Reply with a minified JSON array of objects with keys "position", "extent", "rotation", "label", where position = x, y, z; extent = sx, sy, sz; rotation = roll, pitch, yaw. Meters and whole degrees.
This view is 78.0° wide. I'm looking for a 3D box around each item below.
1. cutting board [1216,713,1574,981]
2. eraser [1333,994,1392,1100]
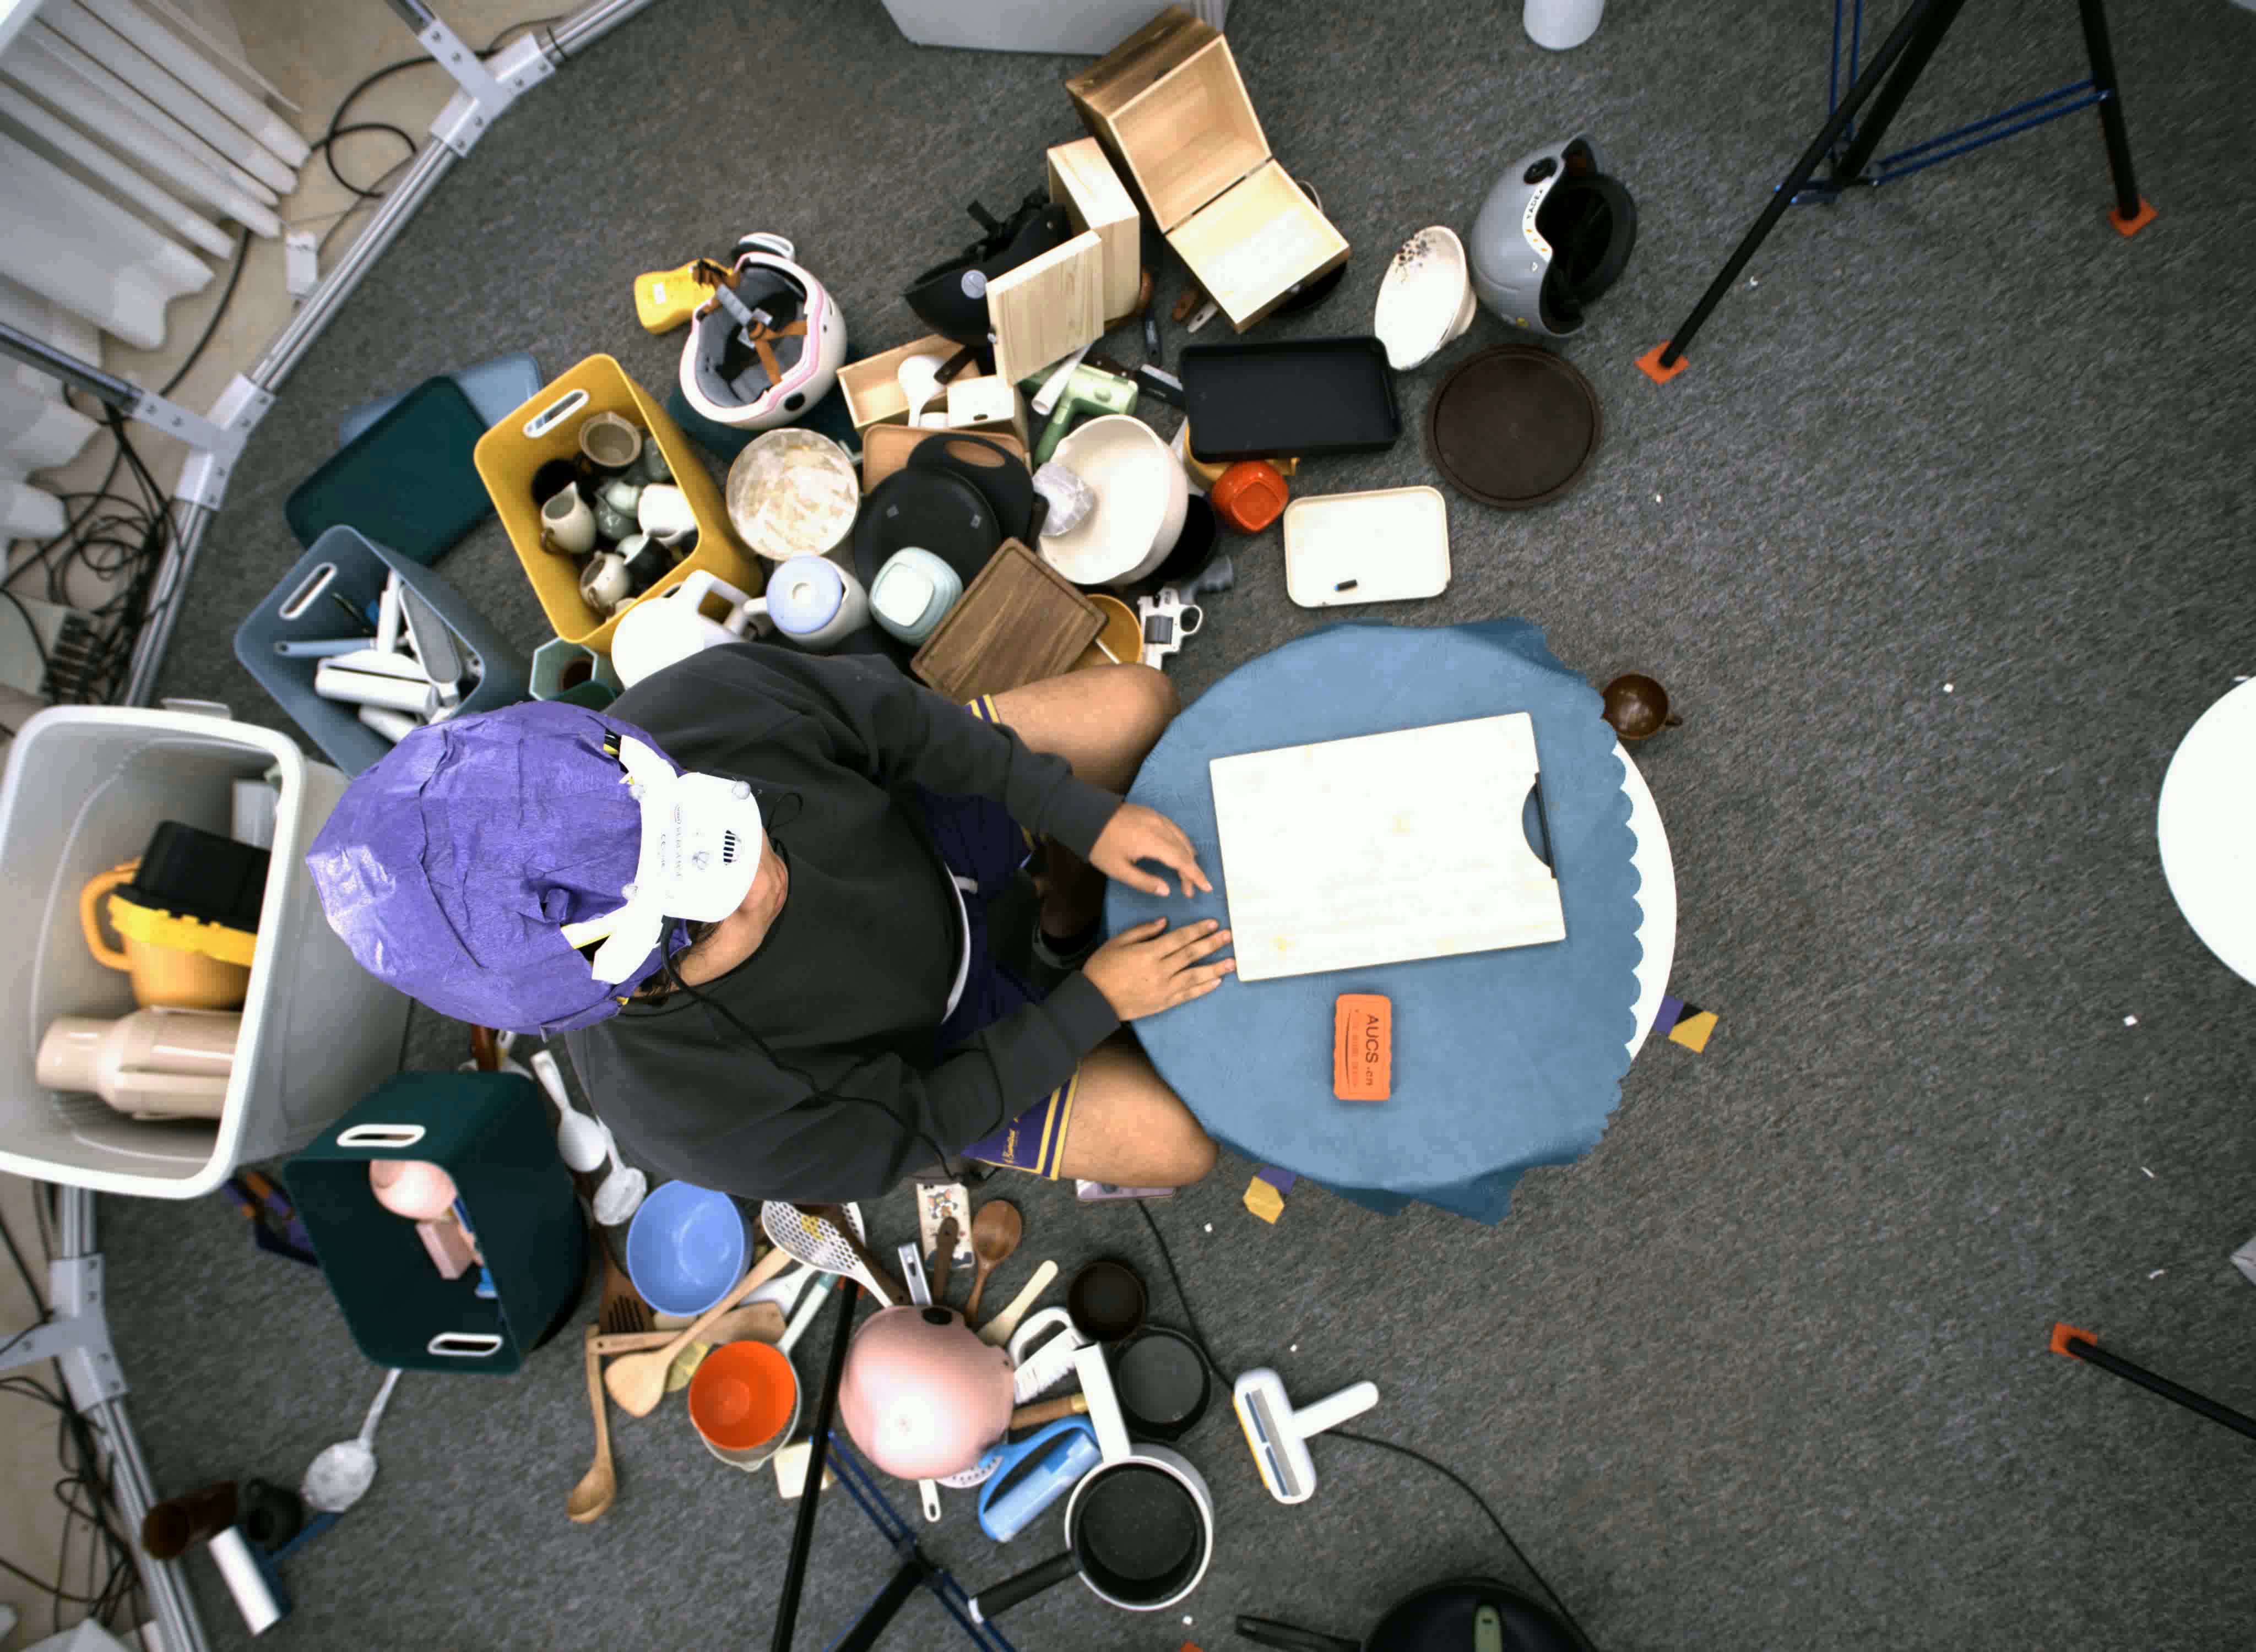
[{"position":[0.274,0.022,1.453],"extent":[0.350,0.023,0.249],"rotation":[-9,85,10],"label":"cutting board"},{"position":[0.245,0.229,1.443],"extent":[0.059,0.023,0.107],"rotation":[2,87,9],"label":"eraser"}]
